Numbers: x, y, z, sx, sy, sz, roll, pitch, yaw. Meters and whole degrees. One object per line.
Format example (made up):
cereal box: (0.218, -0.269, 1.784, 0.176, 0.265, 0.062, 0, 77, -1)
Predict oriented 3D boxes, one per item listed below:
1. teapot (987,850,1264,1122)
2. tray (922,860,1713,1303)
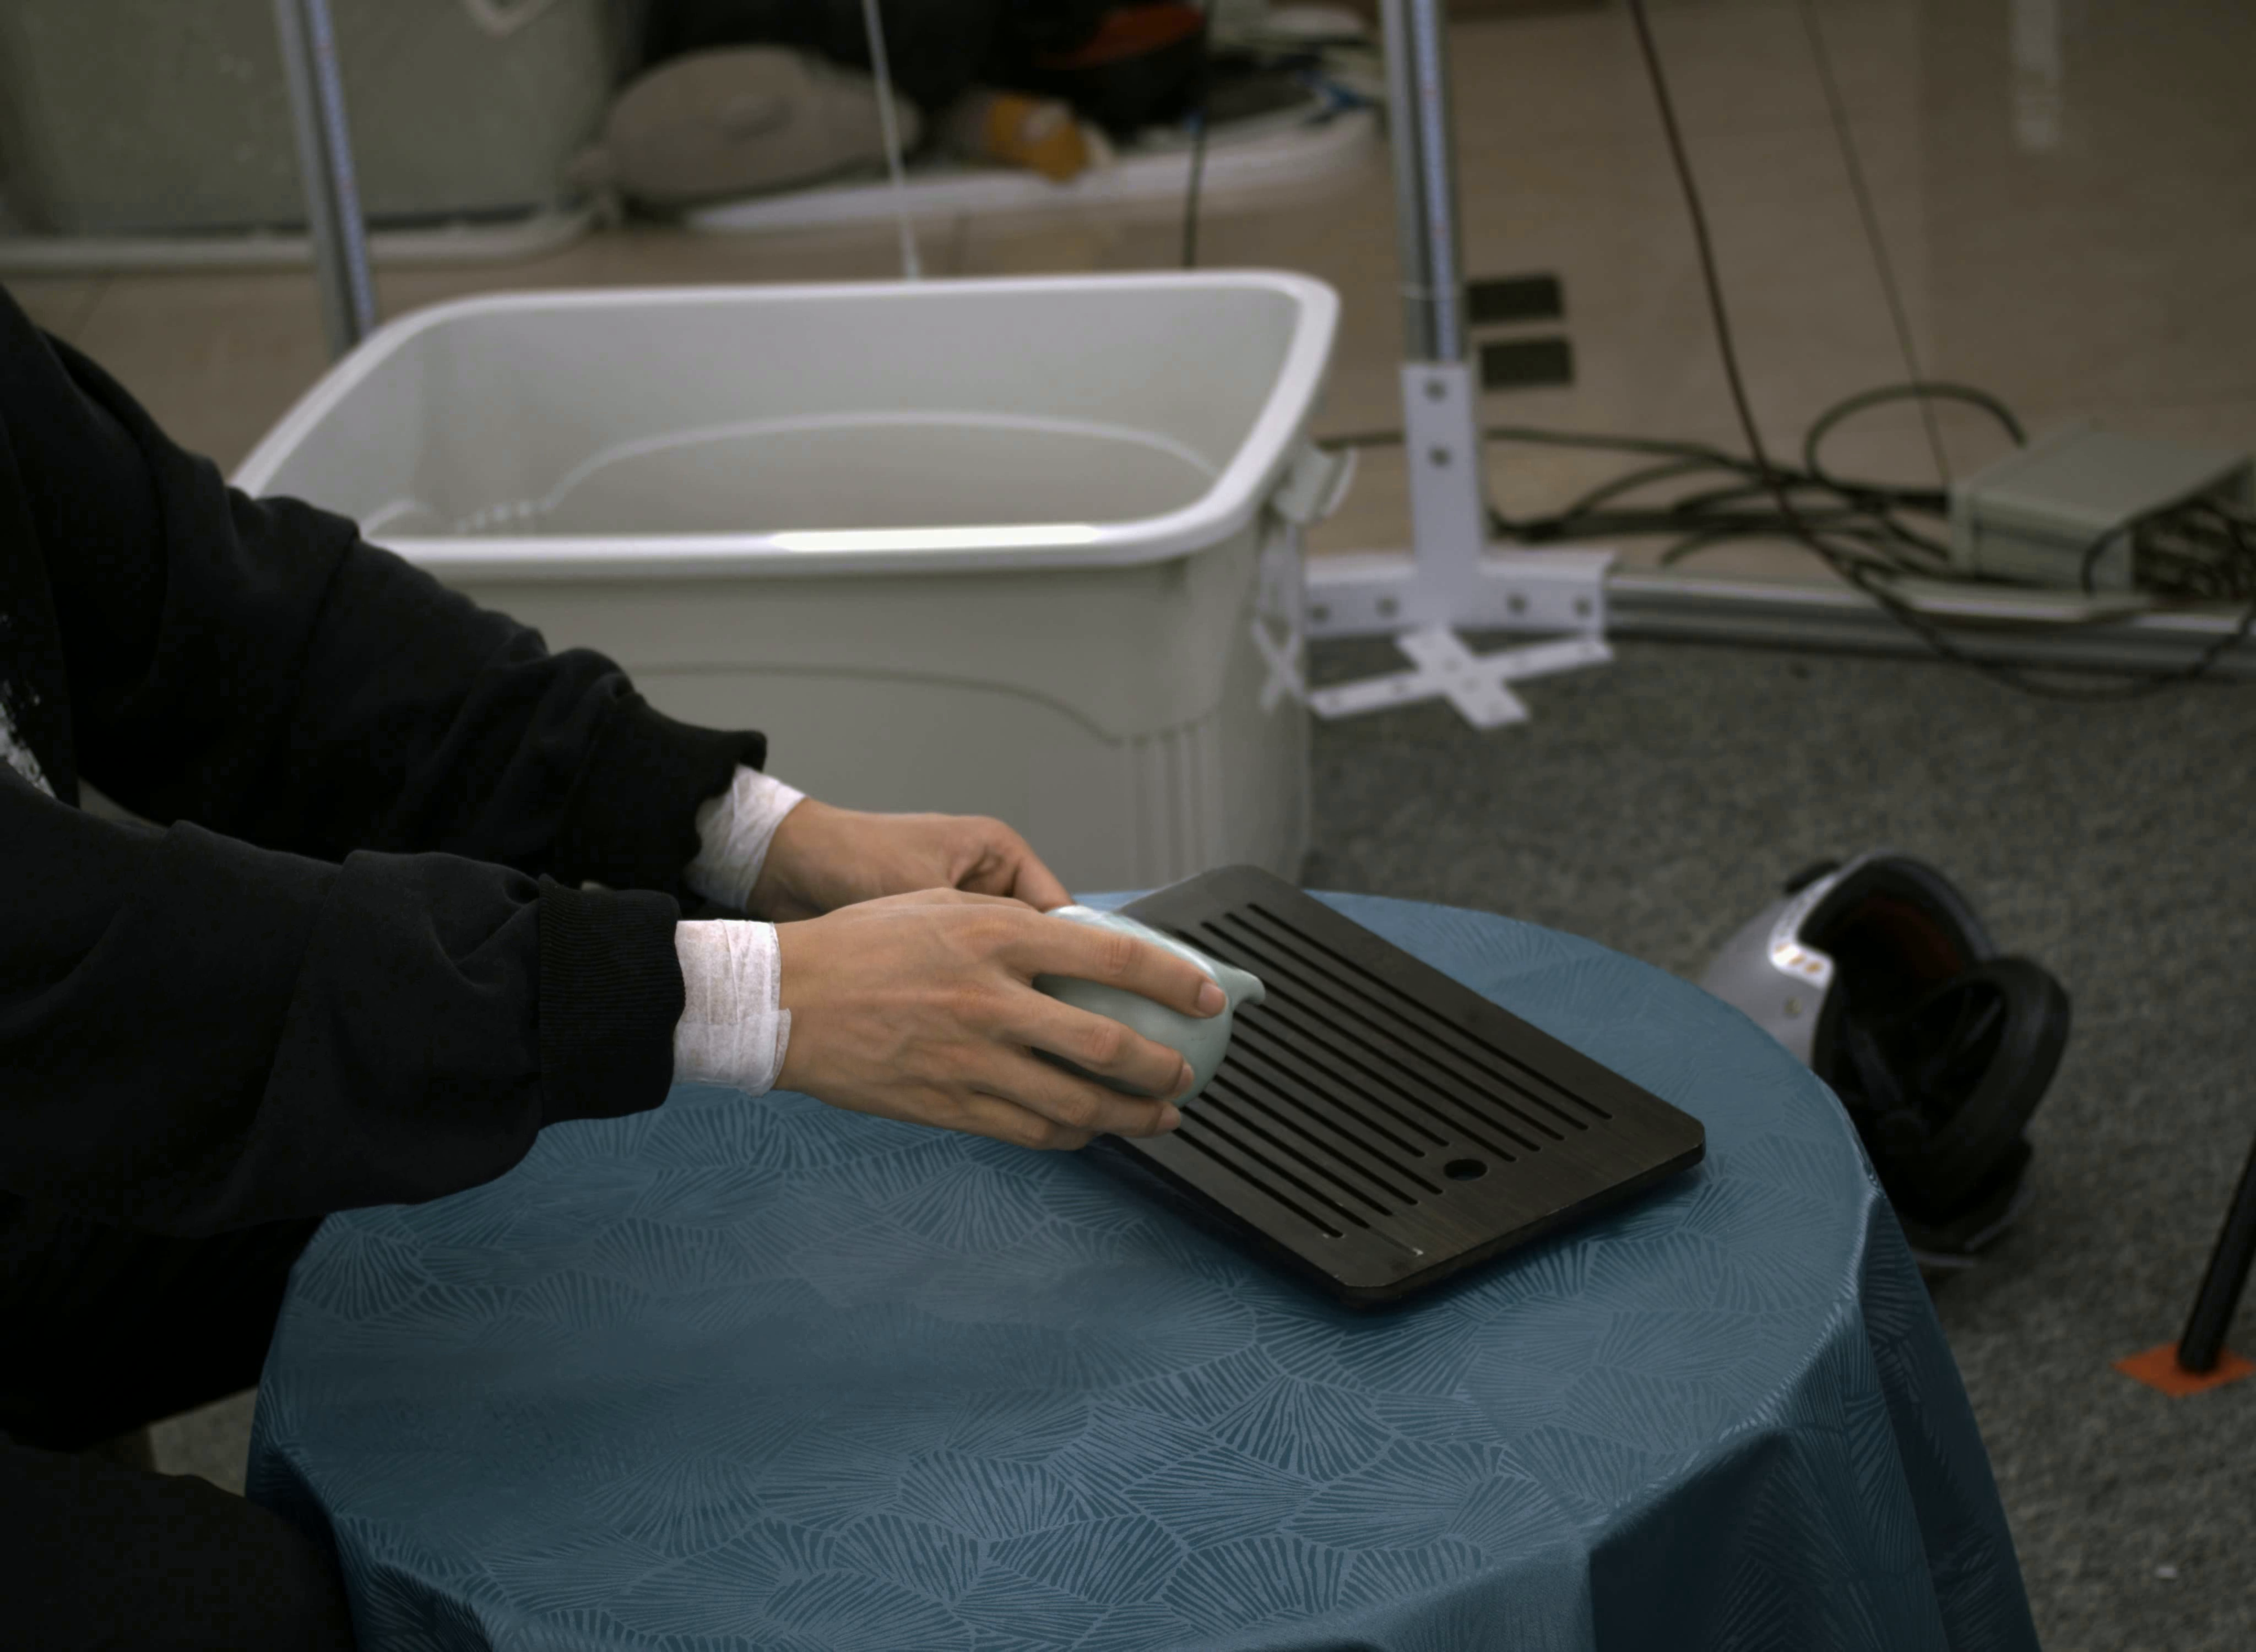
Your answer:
teapot: (-0.006, 0.066, 2.059, 0.088, 0.074, 0.145, 15, -12, 45)
tray: (0.069, 0.095, 2.187, 0.169, 0.019, 0.302, -21, 32, -29)
